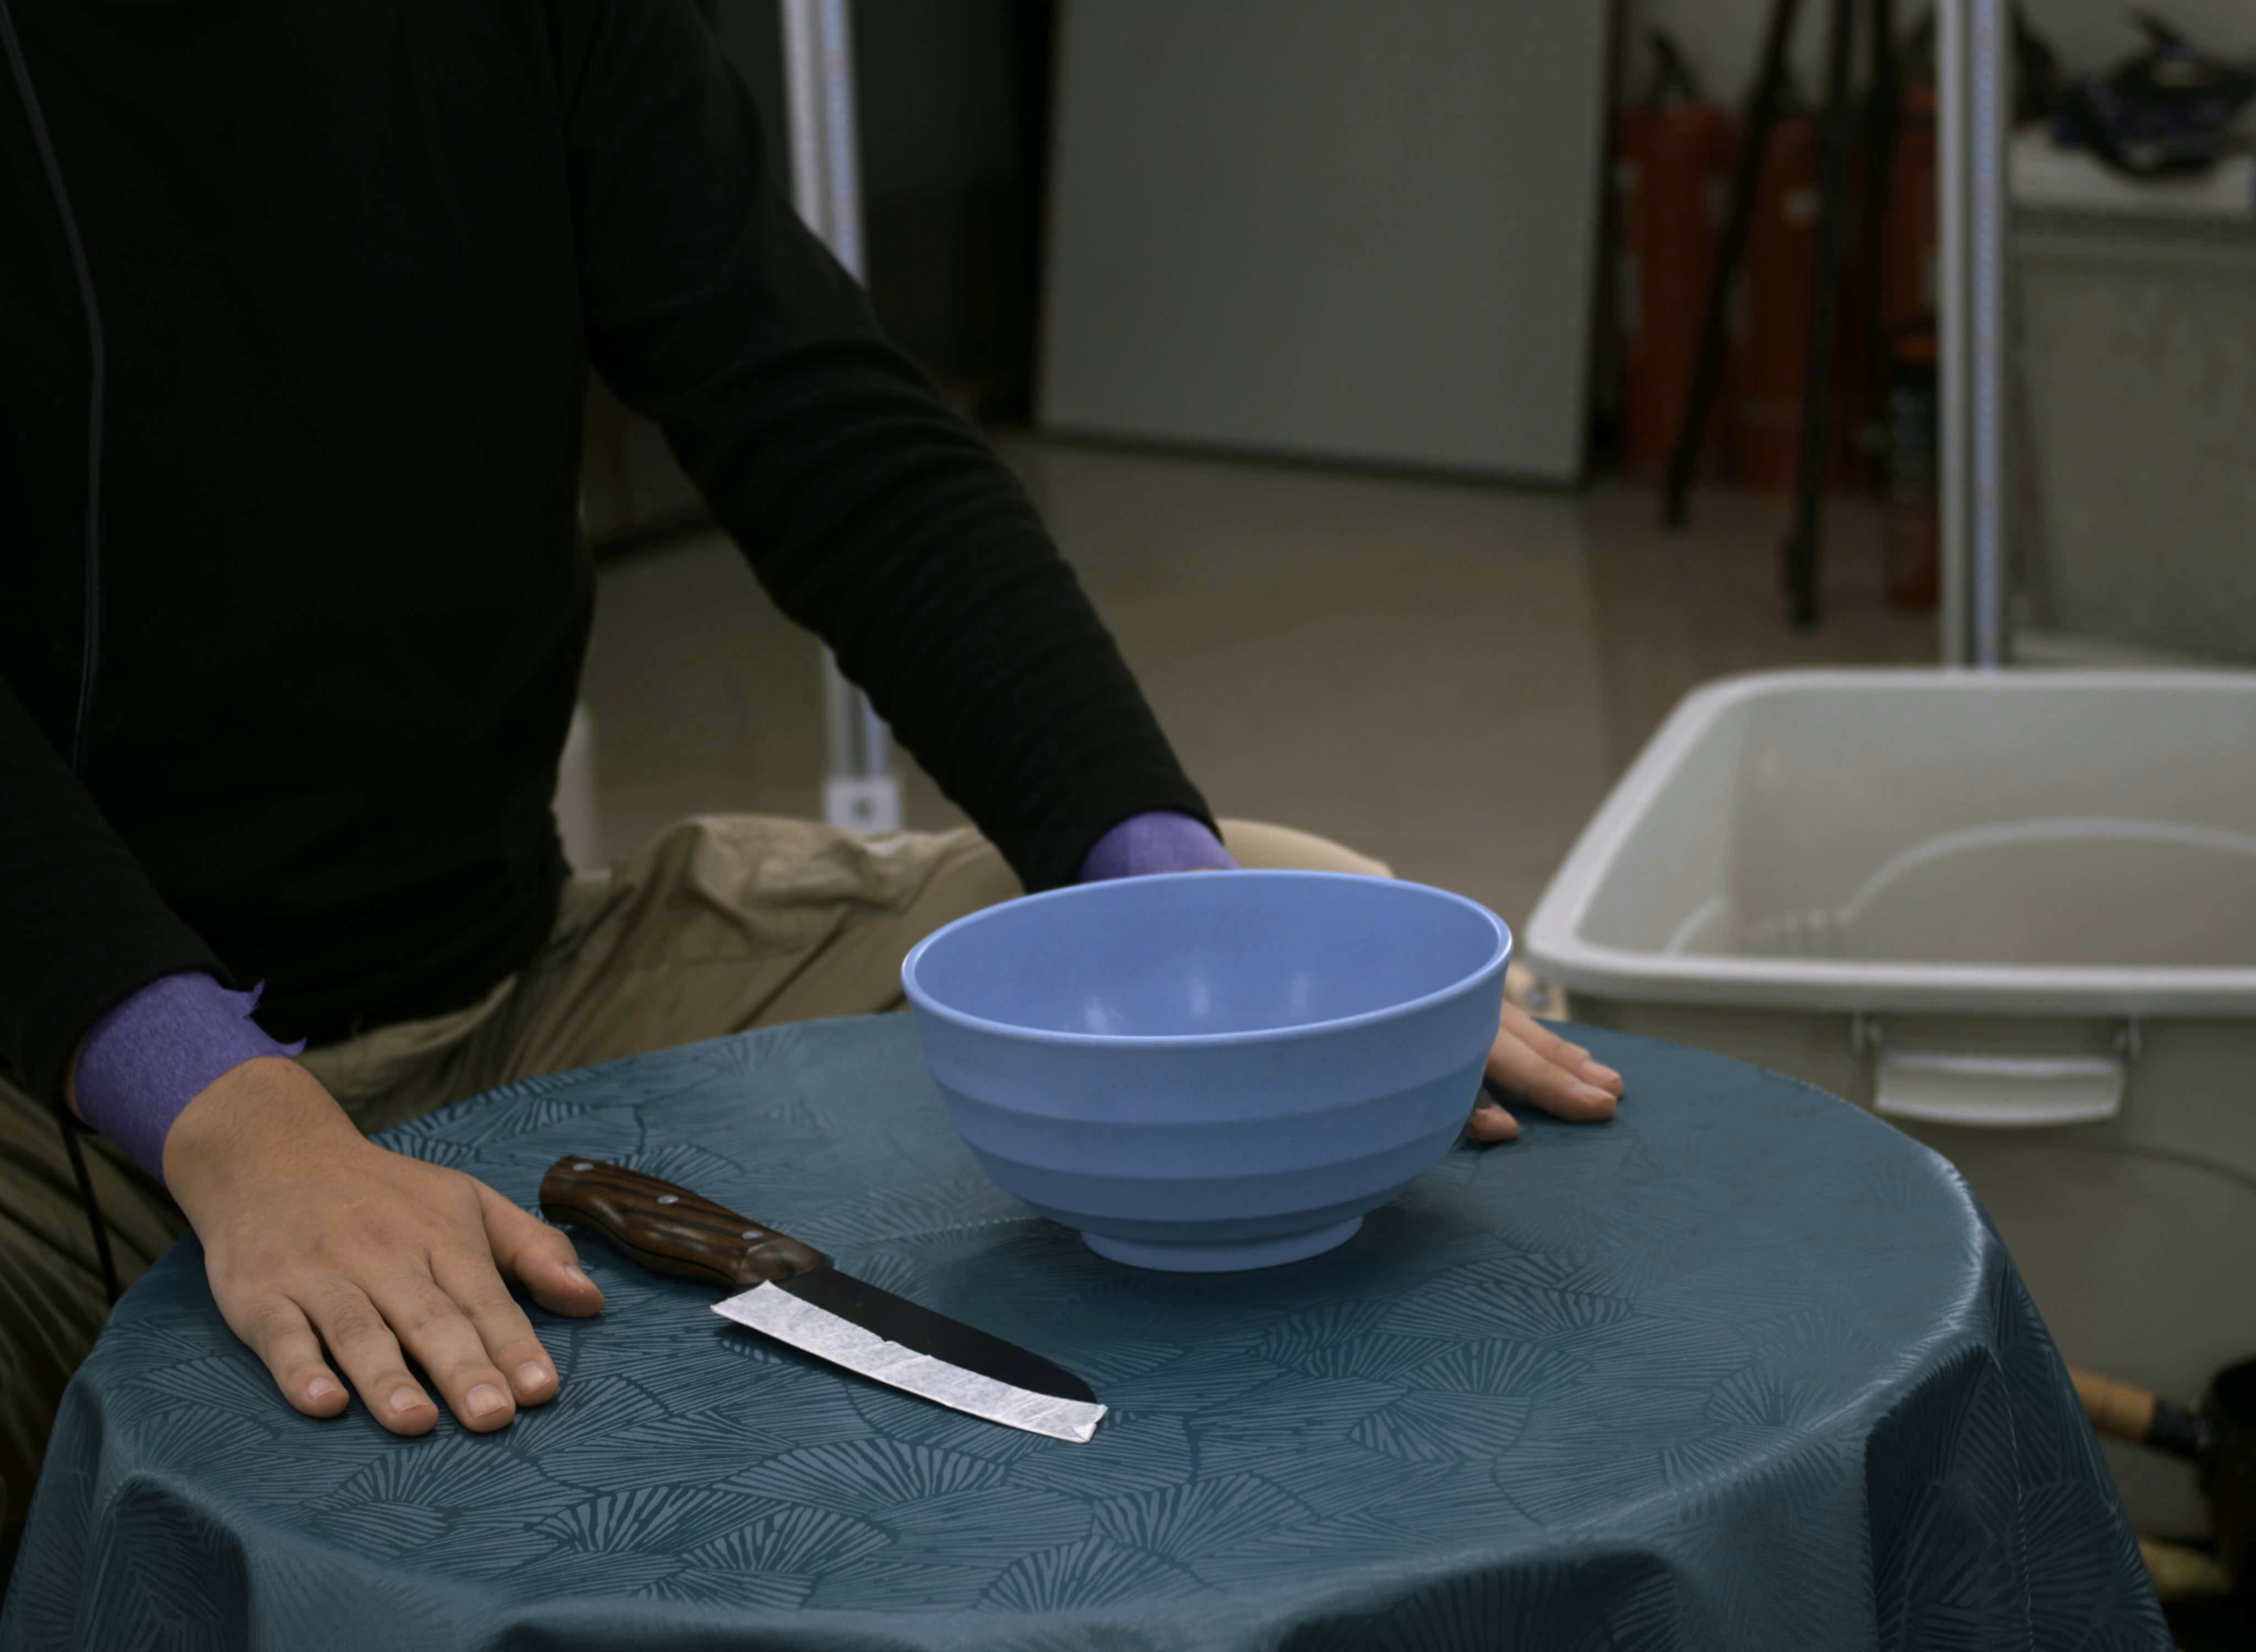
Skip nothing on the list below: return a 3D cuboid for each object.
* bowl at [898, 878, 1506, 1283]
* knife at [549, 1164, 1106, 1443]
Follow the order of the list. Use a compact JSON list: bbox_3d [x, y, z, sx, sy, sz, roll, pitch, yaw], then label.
[{"bbox_3d":[0.028,0.086,1.720,0.194,0.096,0.197,-6,13,0],"label":"bowl"},{"bbox_3d":[-0.096,0.148,1.665,0.049,0.020,0.292,-19,22,-33],"label":"knife"}]
